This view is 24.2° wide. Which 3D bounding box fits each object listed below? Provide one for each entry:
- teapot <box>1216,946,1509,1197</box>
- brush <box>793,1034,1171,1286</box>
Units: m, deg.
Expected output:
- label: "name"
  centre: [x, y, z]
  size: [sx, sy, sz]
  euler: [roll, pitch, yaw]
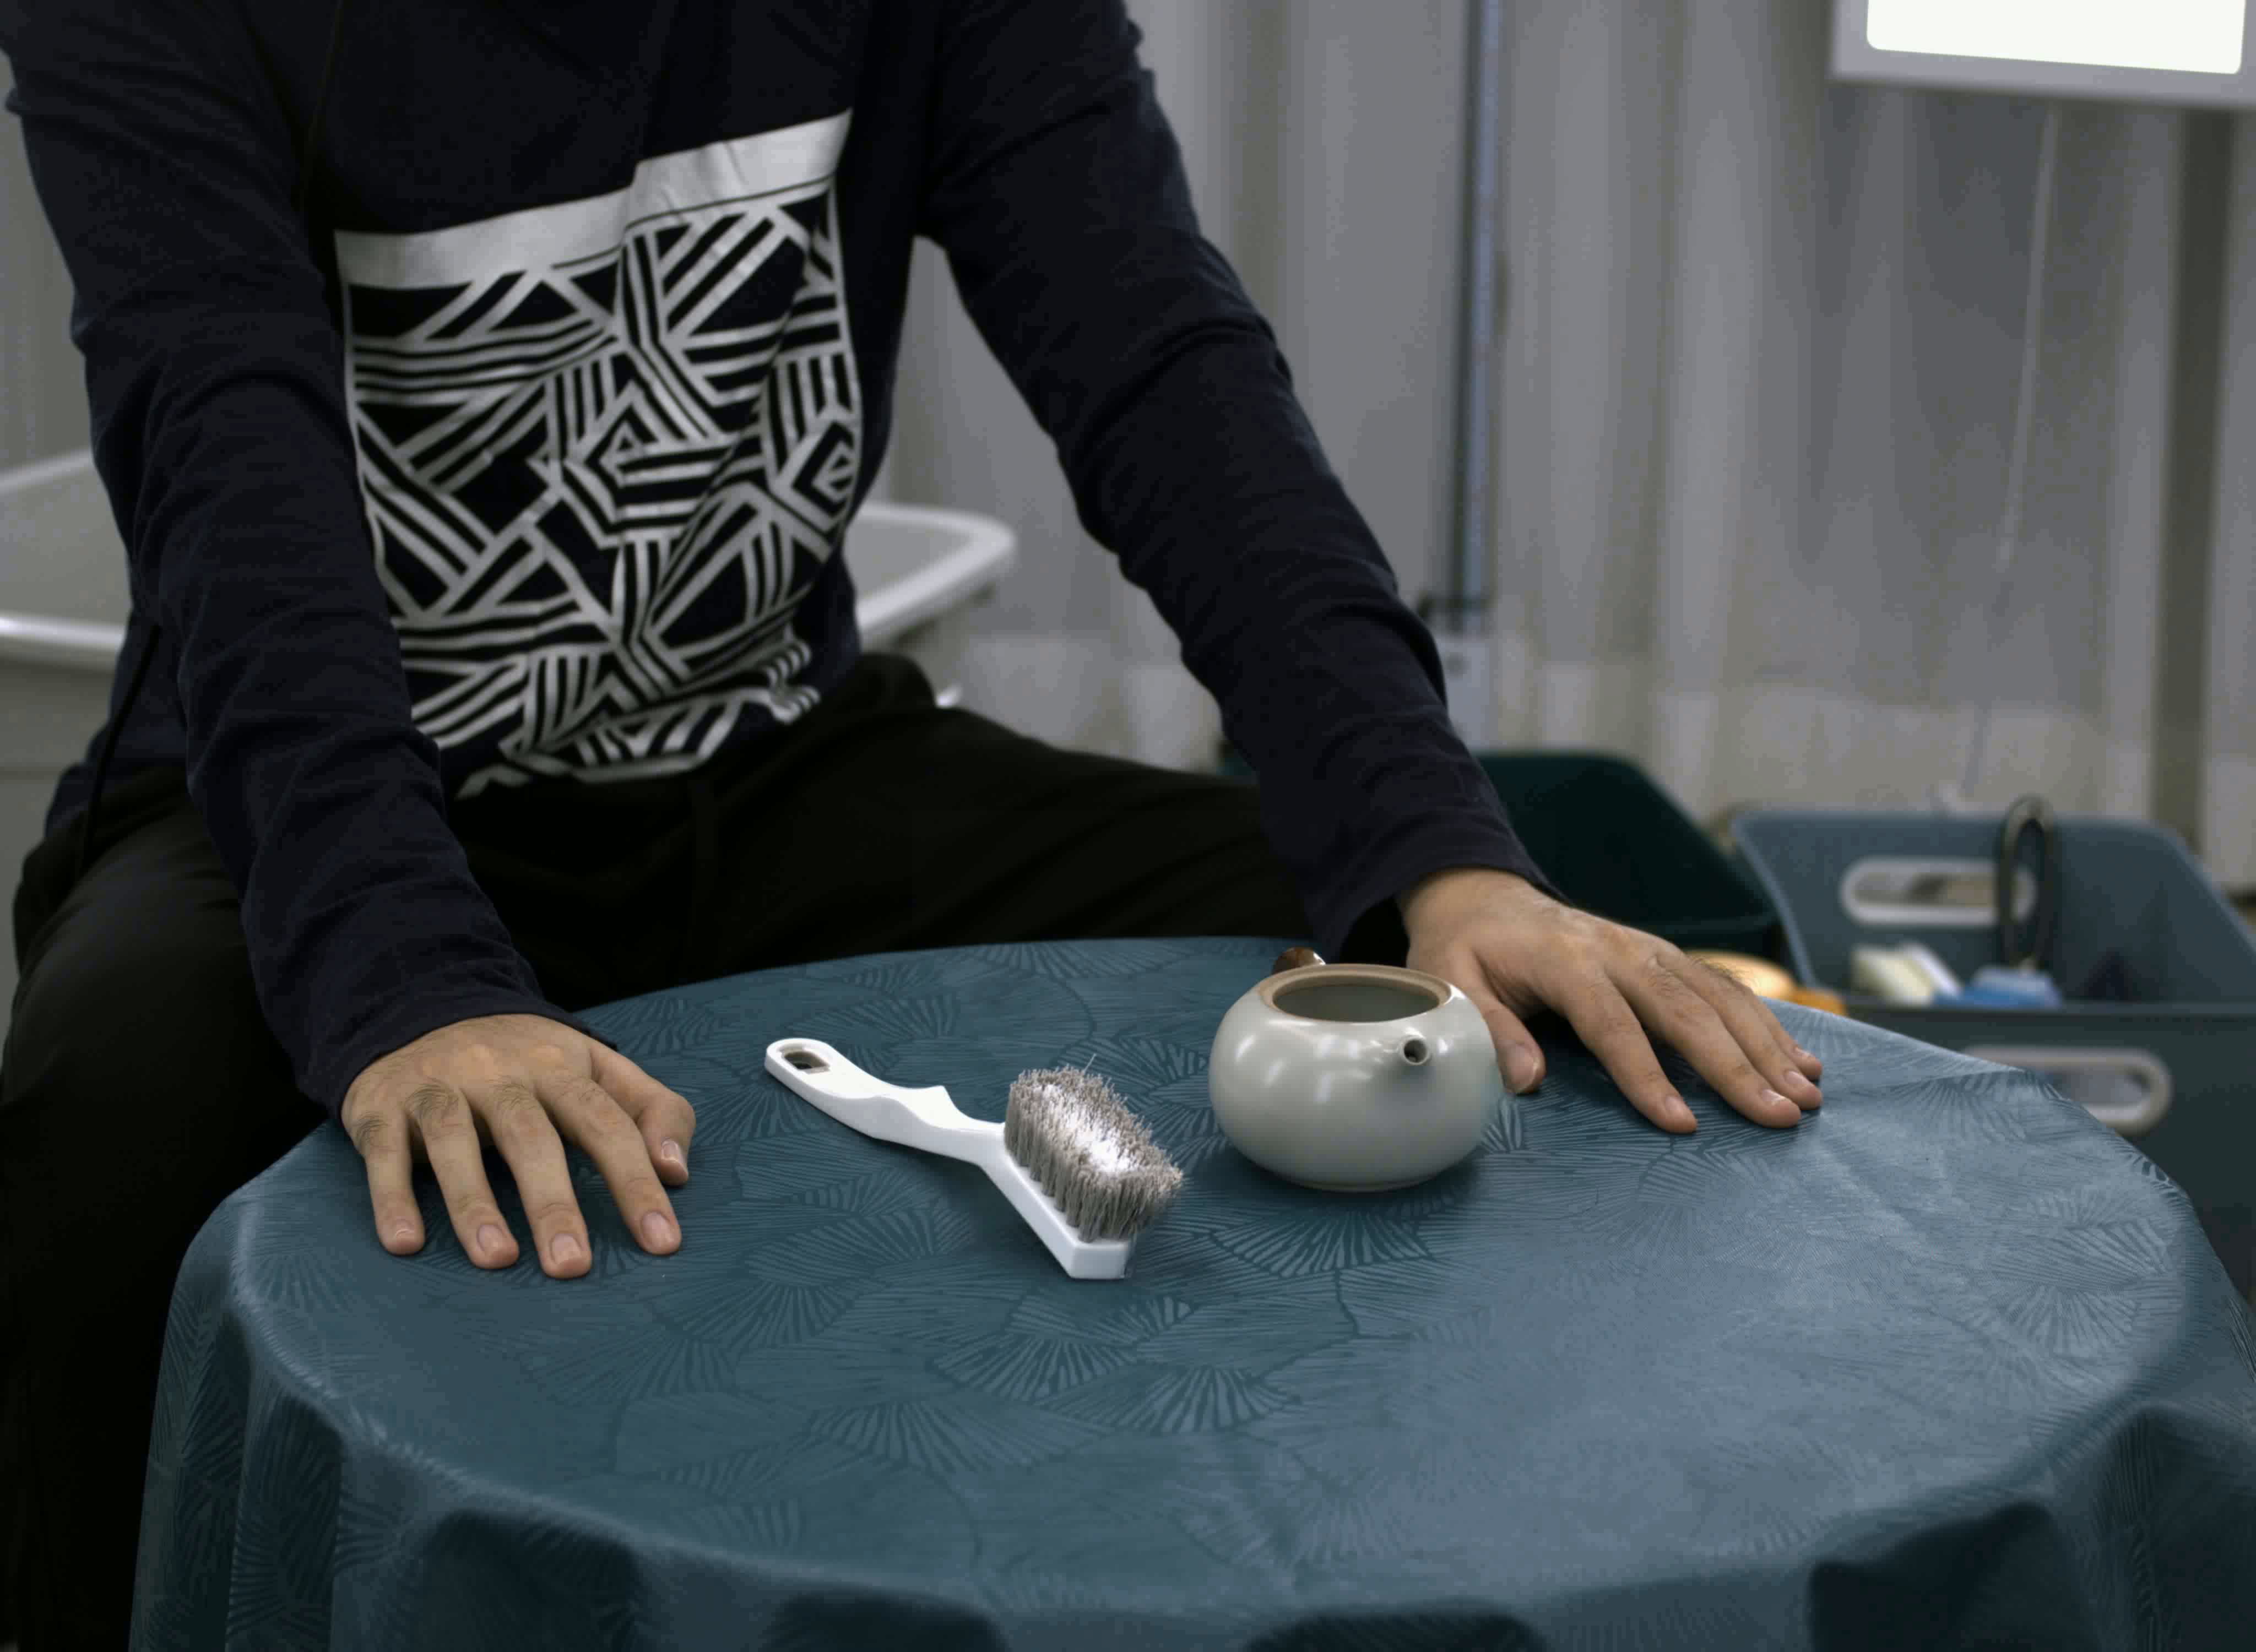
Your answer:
- label: "teapot"
  centre: [0.070, 0.076, 1.652]
  size: [0.092, 0.060, 0.126]
  euler: [-9, 19, -19]
- label: "brush"
  centre: [-0.052, 0.084, 1.637]
  size: [0.034, 0.051, 0.240]
  euler: [-12, 20, -24]
